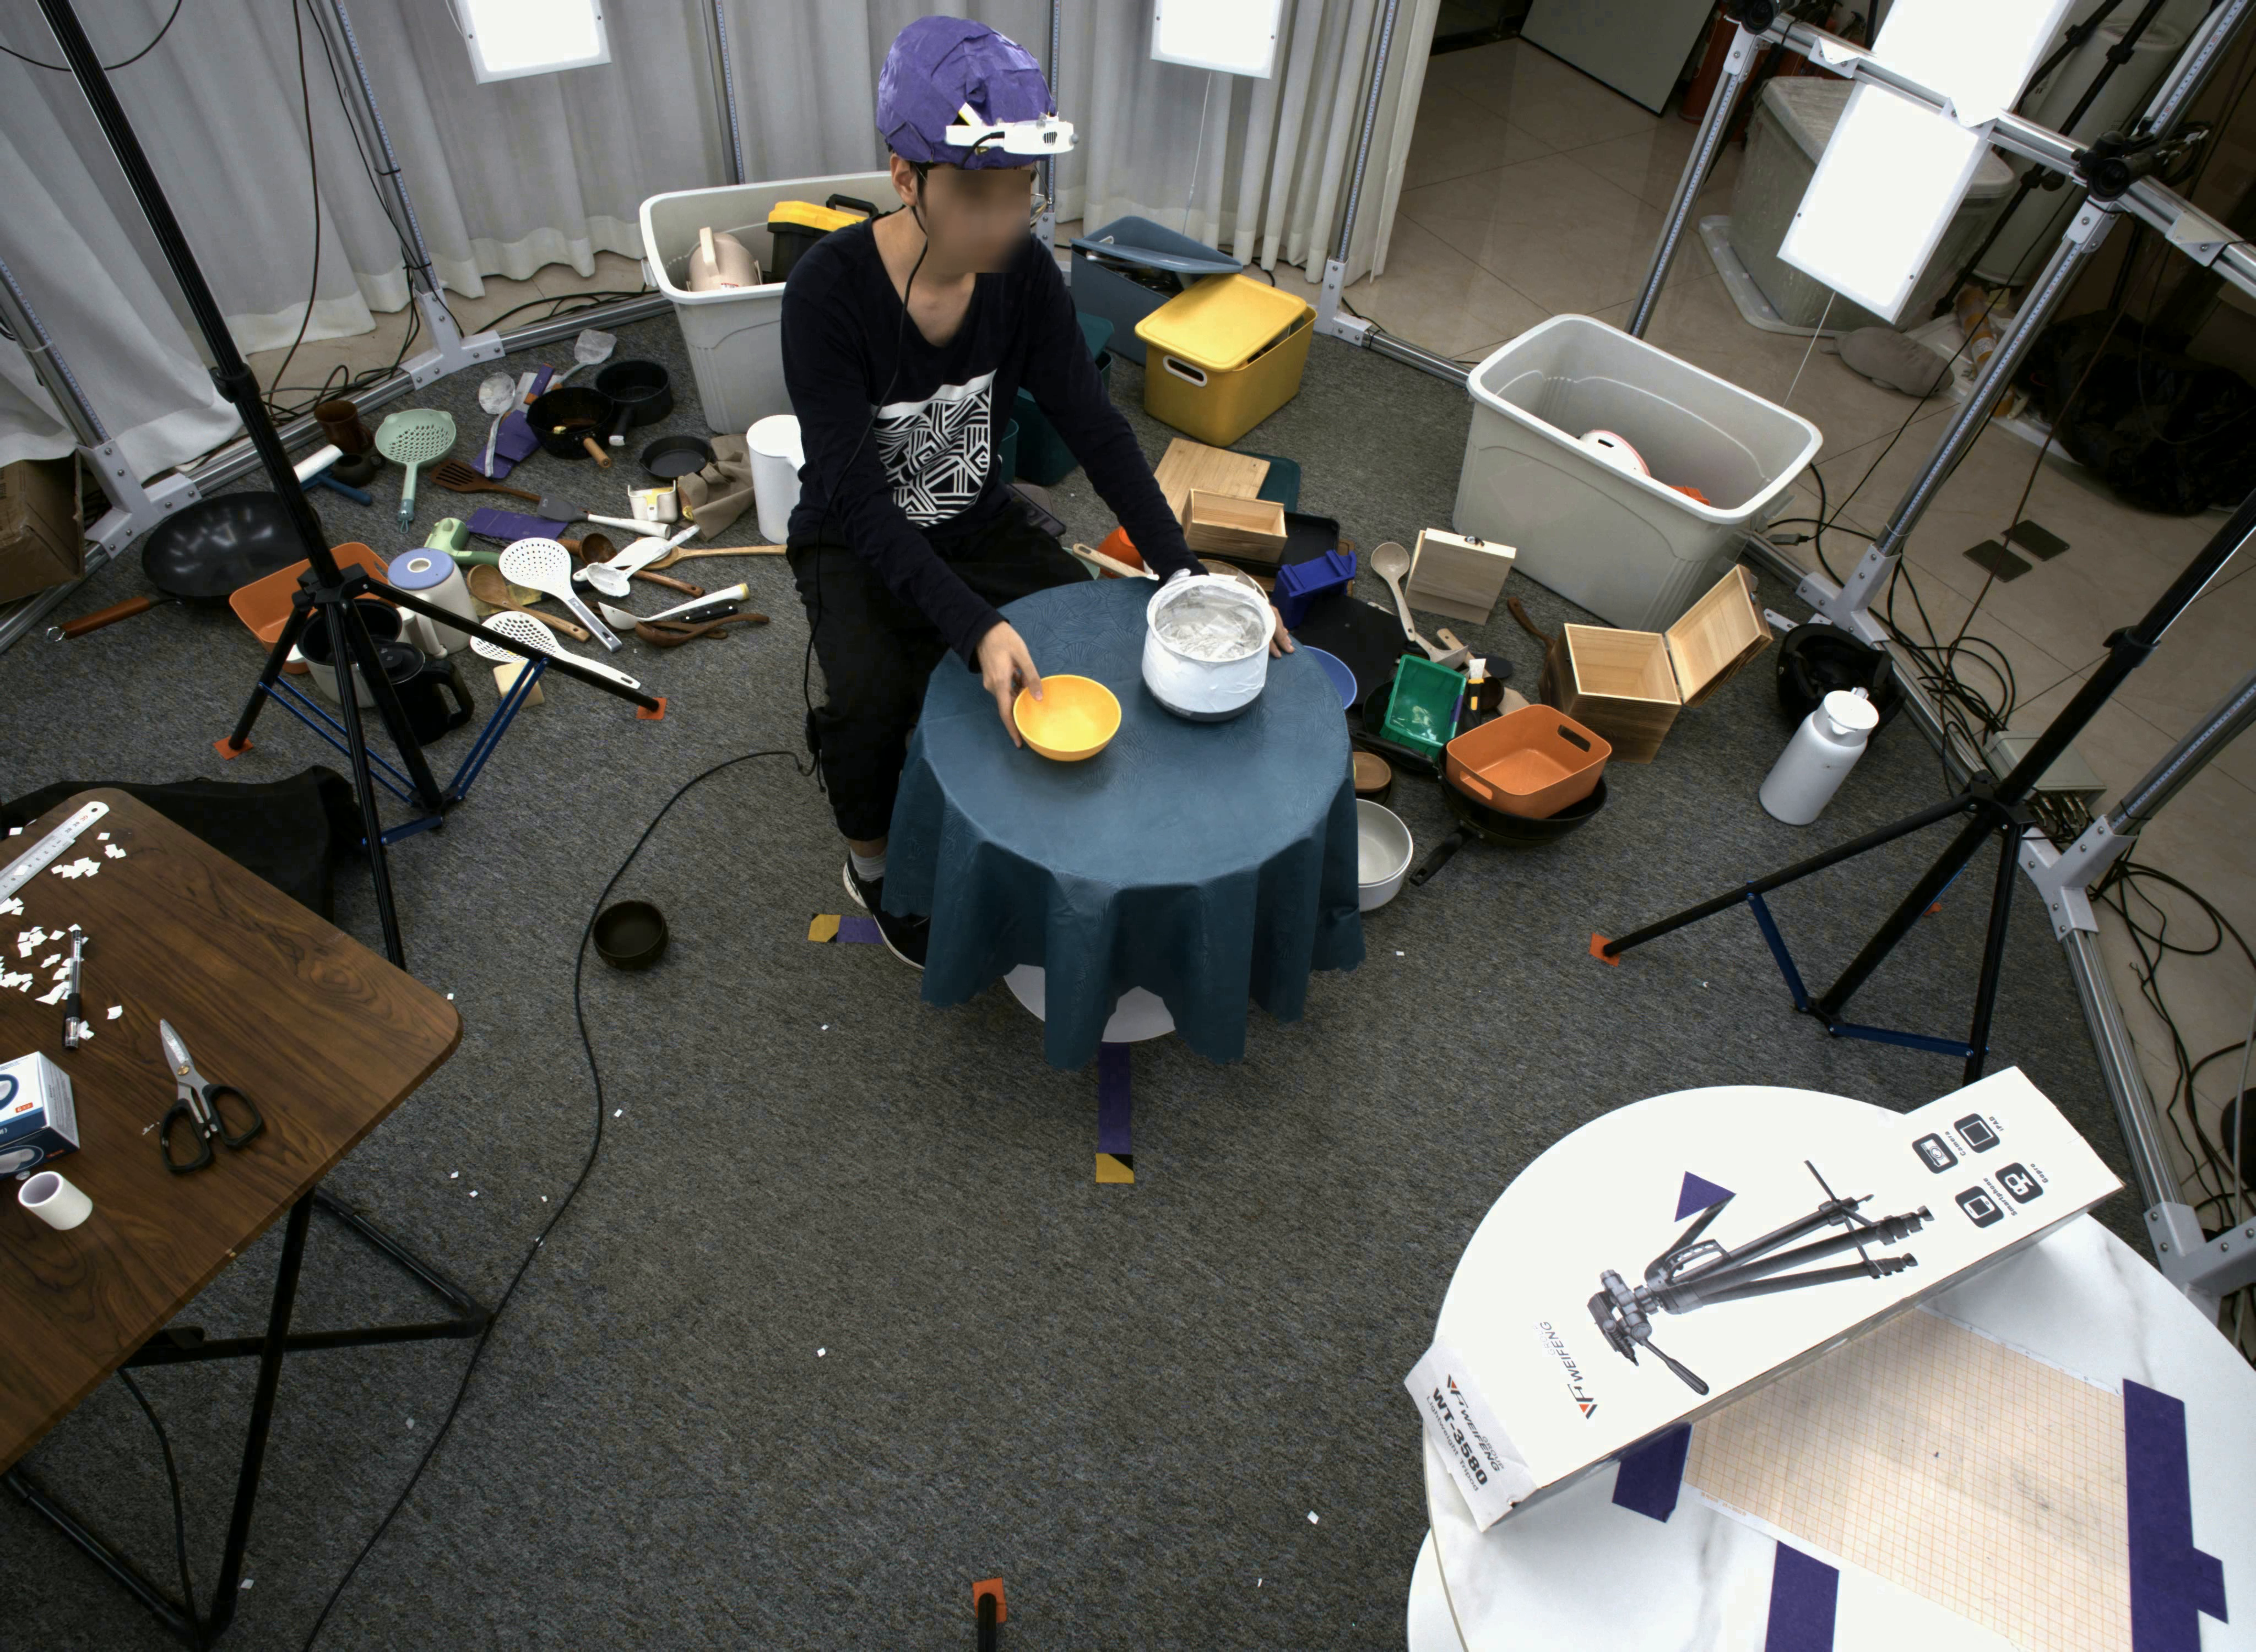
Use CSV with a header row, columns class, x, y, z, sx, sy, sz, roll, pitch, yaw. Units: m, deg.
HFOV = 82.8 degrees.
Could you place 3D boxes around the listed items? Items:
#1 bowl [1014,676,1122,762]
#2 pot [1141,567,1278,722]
class,x,y,z,sx,sy,sz,roll,pitch,yaw
bowl,-0.081,-0.134,1.738,0.145,0.058,0.149,1,49,-1
pot,0.100,-0.266,1.815,0.179,0.133,0.239,-12,52,-18
